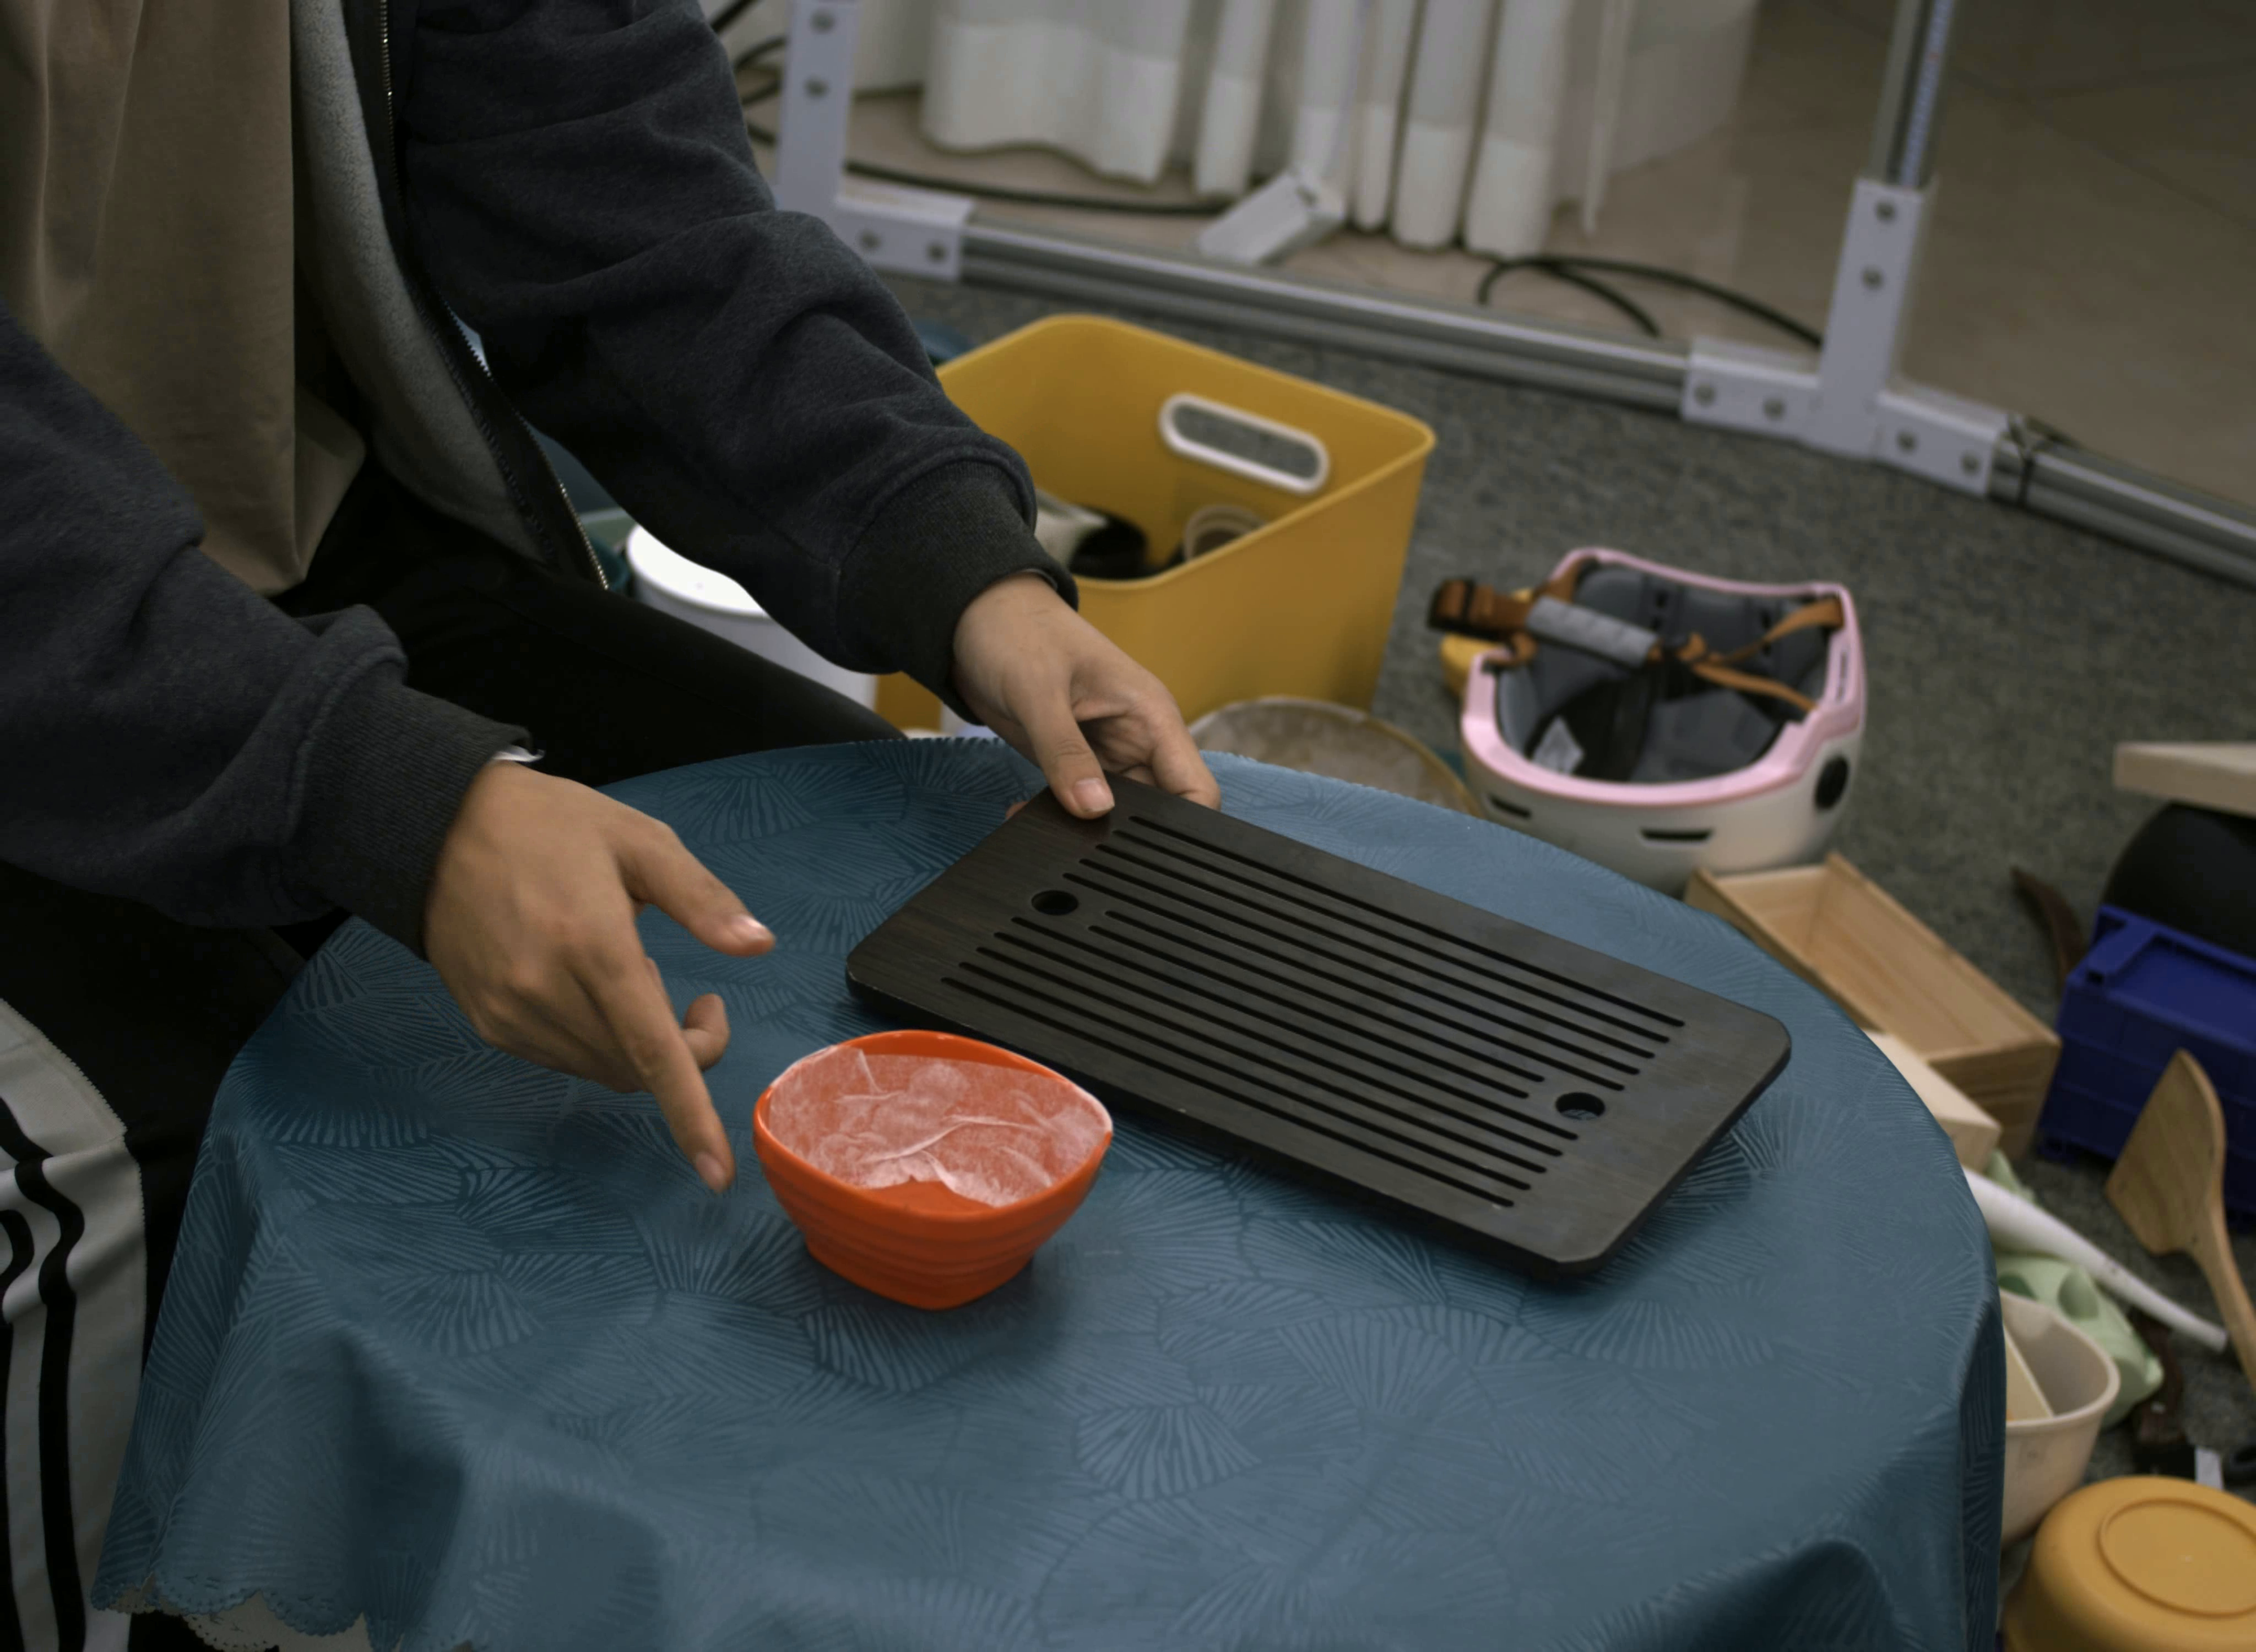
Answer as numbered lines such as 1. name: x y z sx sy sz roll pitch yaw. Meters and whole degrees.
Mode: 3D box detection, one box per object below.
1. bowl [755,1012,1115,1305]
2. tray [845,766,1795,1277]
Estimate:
1. bowl: -0.066 0.114 1.743 0.118 0.051 0.120 7 30 -5
2. tray: 0.067 0.066 1.887 0.307 0.018 0.170 20 37 26
